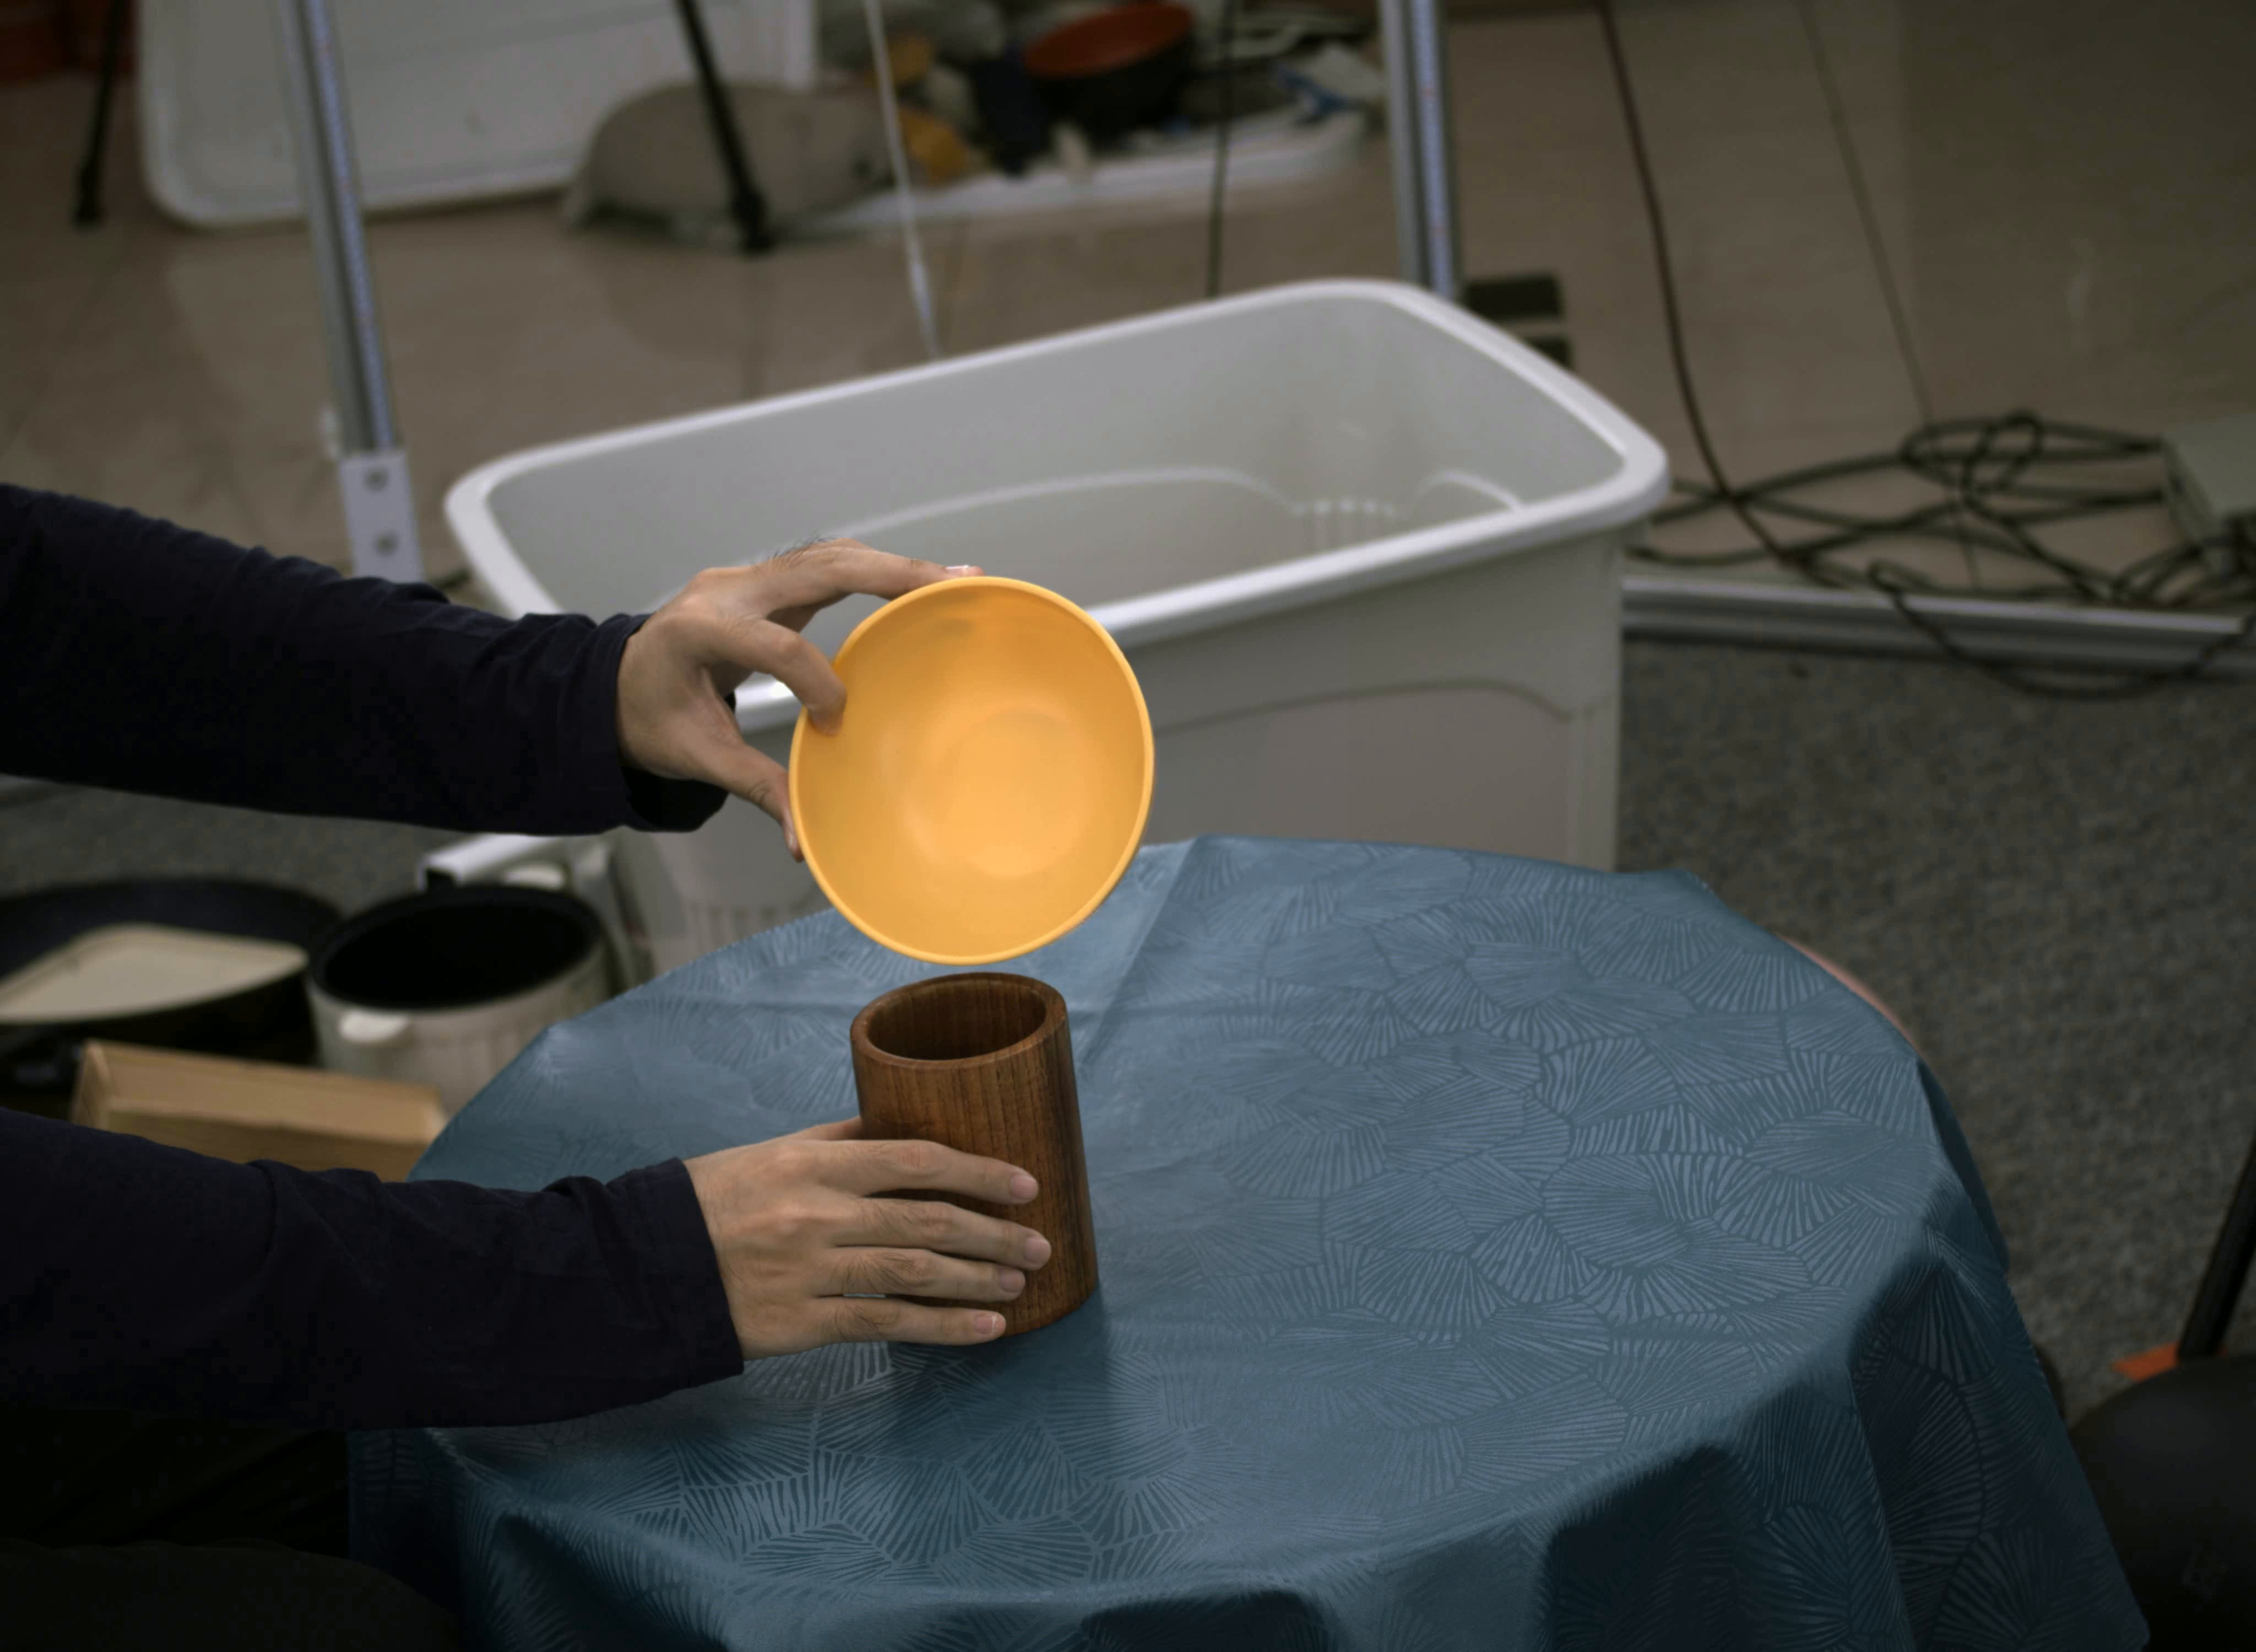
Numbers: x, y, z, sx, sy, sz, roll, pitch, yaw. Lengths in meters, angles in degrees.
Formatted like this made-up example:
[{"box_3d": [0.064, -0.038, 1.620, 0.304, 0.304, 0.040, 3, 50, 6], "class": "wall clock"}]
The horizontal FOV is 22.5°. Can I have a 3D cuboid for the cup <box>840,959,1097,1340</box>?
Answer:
[{"box_3d": [-0.057, 0.118, 2.064, 0.087, 0.120, 0.086, -5, 23, 2], "class": "cup"}]

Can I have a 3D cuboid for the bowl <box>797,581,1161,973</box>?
[{"box_3d": [-0.046, -0.016, 2.100, 0.145, 0.145, 0.060, 5, 0, 23], "class": "bowl"}]
